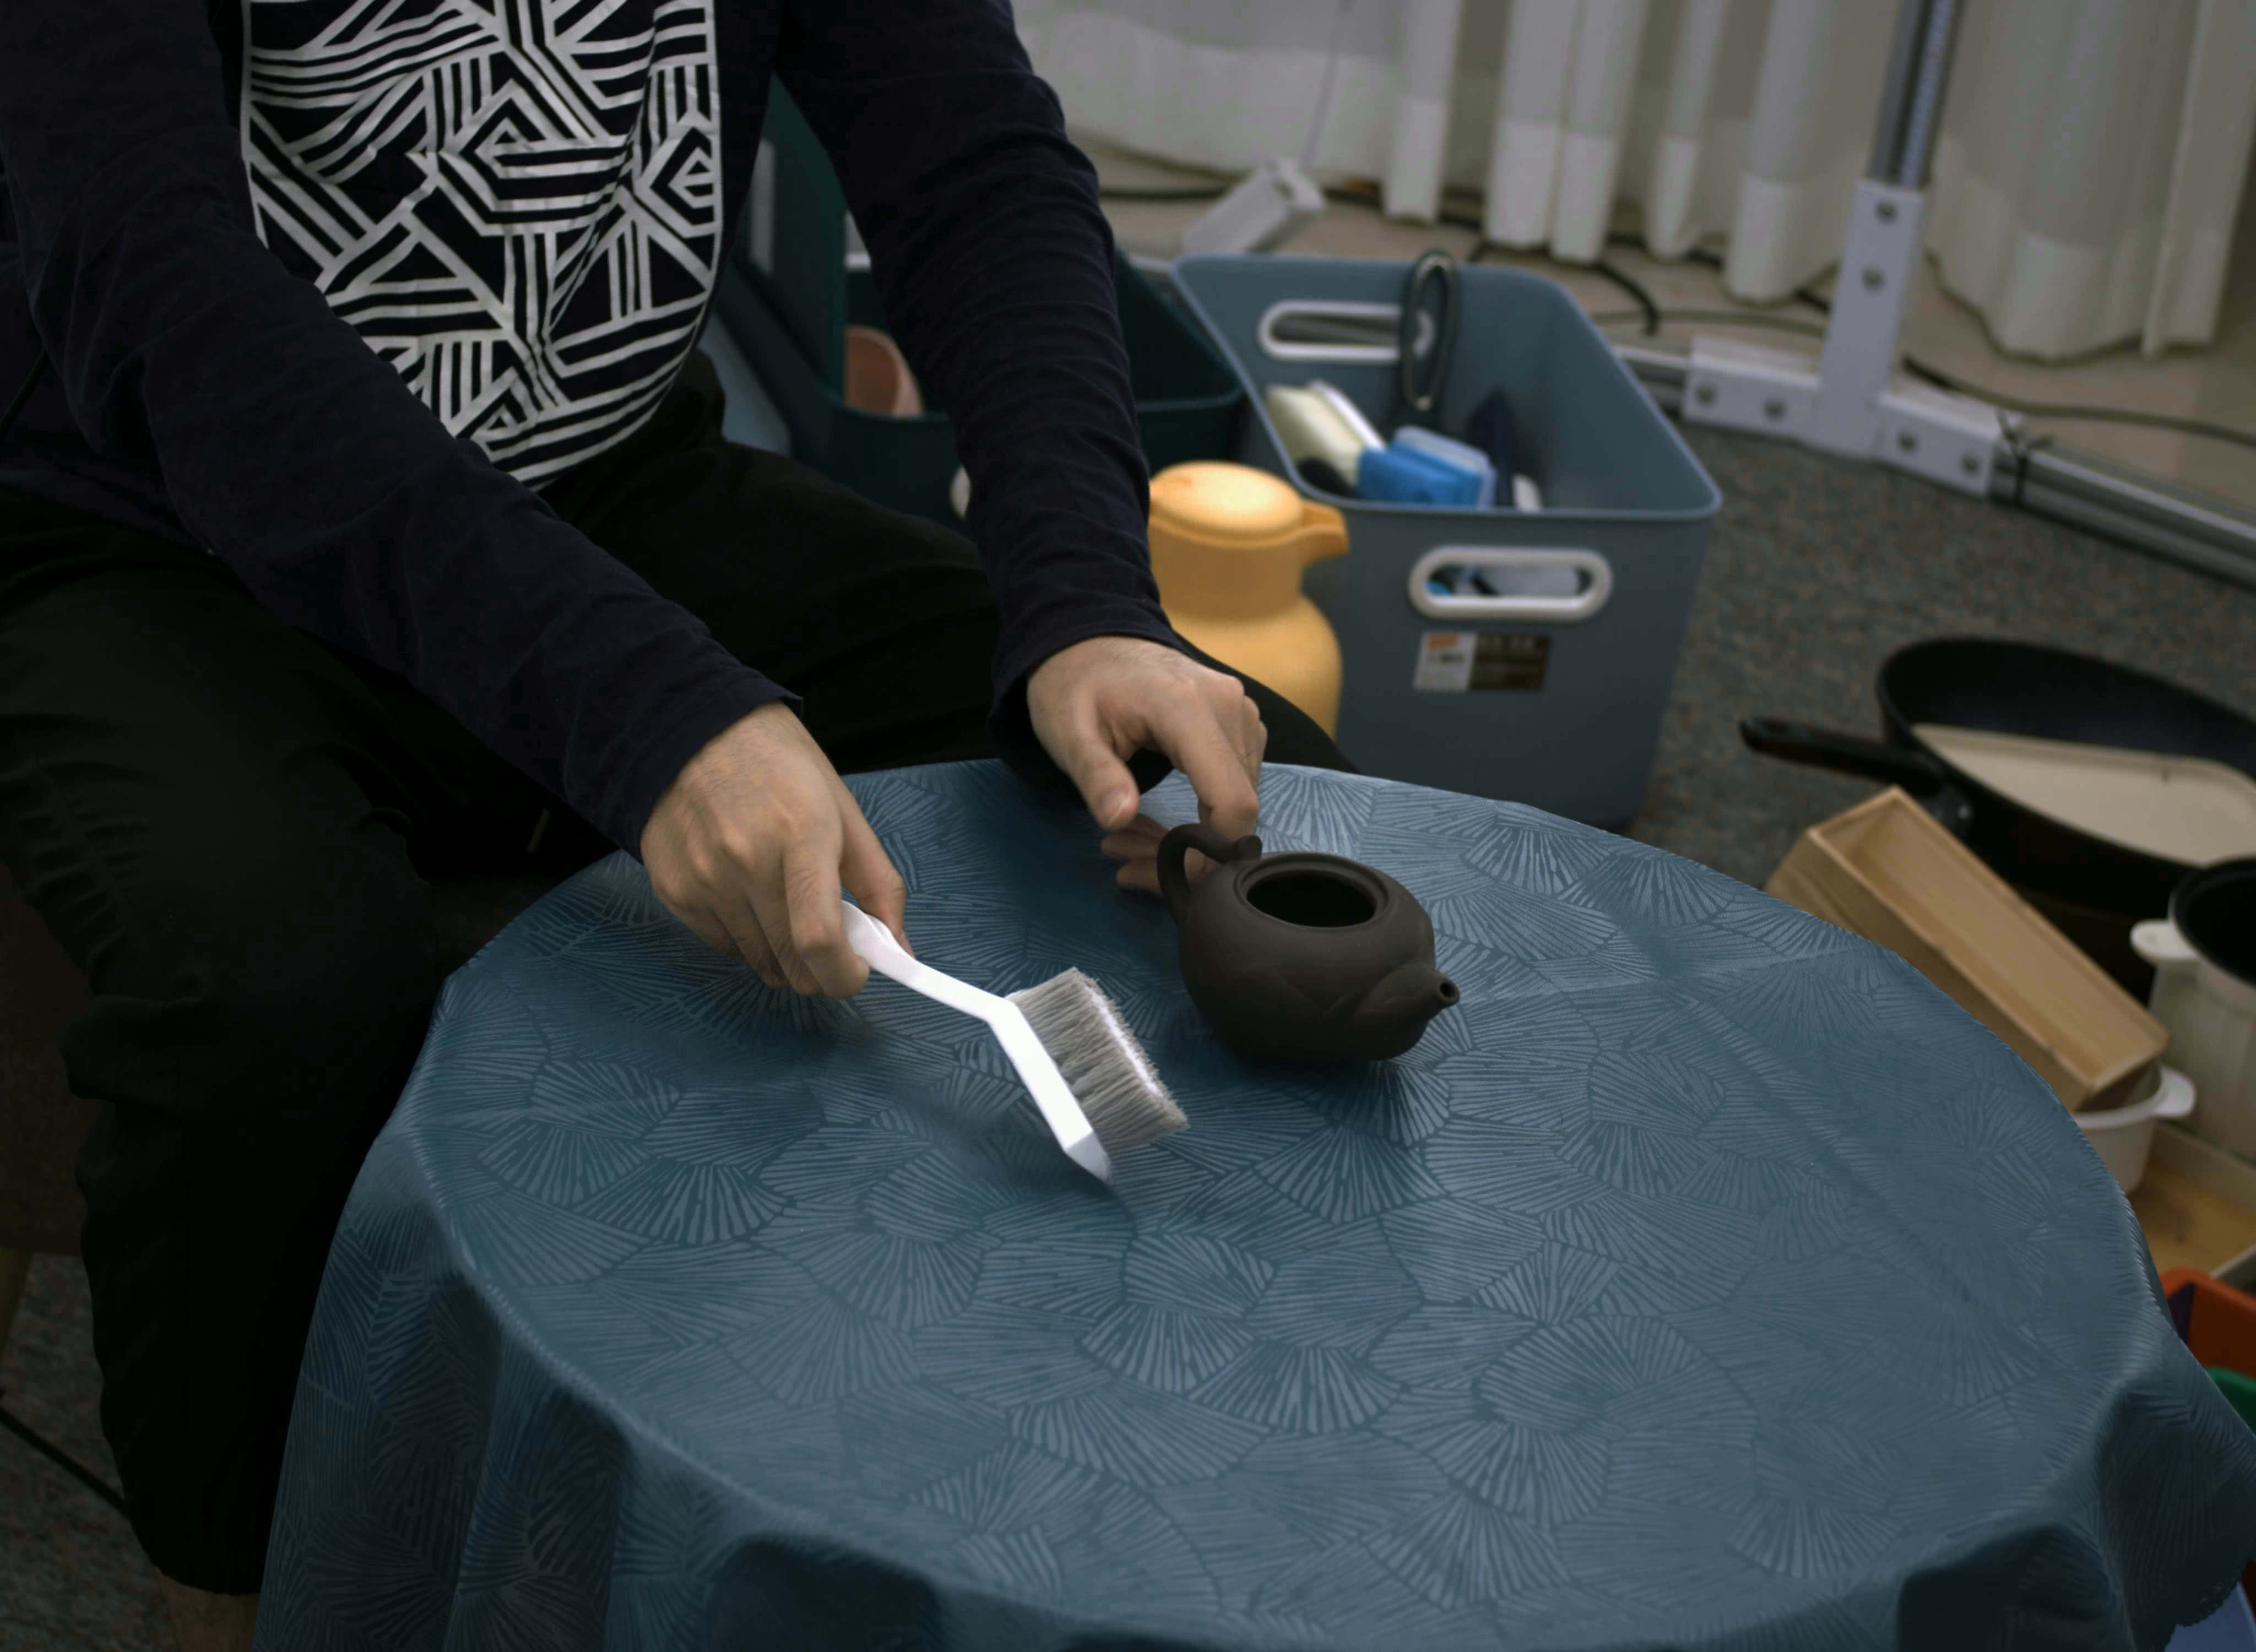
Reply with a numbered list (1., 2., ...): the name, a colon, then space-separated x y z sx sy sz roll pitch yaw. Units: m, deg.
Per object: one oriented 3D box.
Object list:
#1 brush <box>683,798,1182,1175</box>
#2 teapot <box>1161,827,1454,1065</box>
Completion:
1. brush: -0.070 0.040 1.860 0.246 0.050 0.034 39 10 35
2. teapot: 0.062 0.045 1.906 0.092 0.064 0.155 -16 34 -36
